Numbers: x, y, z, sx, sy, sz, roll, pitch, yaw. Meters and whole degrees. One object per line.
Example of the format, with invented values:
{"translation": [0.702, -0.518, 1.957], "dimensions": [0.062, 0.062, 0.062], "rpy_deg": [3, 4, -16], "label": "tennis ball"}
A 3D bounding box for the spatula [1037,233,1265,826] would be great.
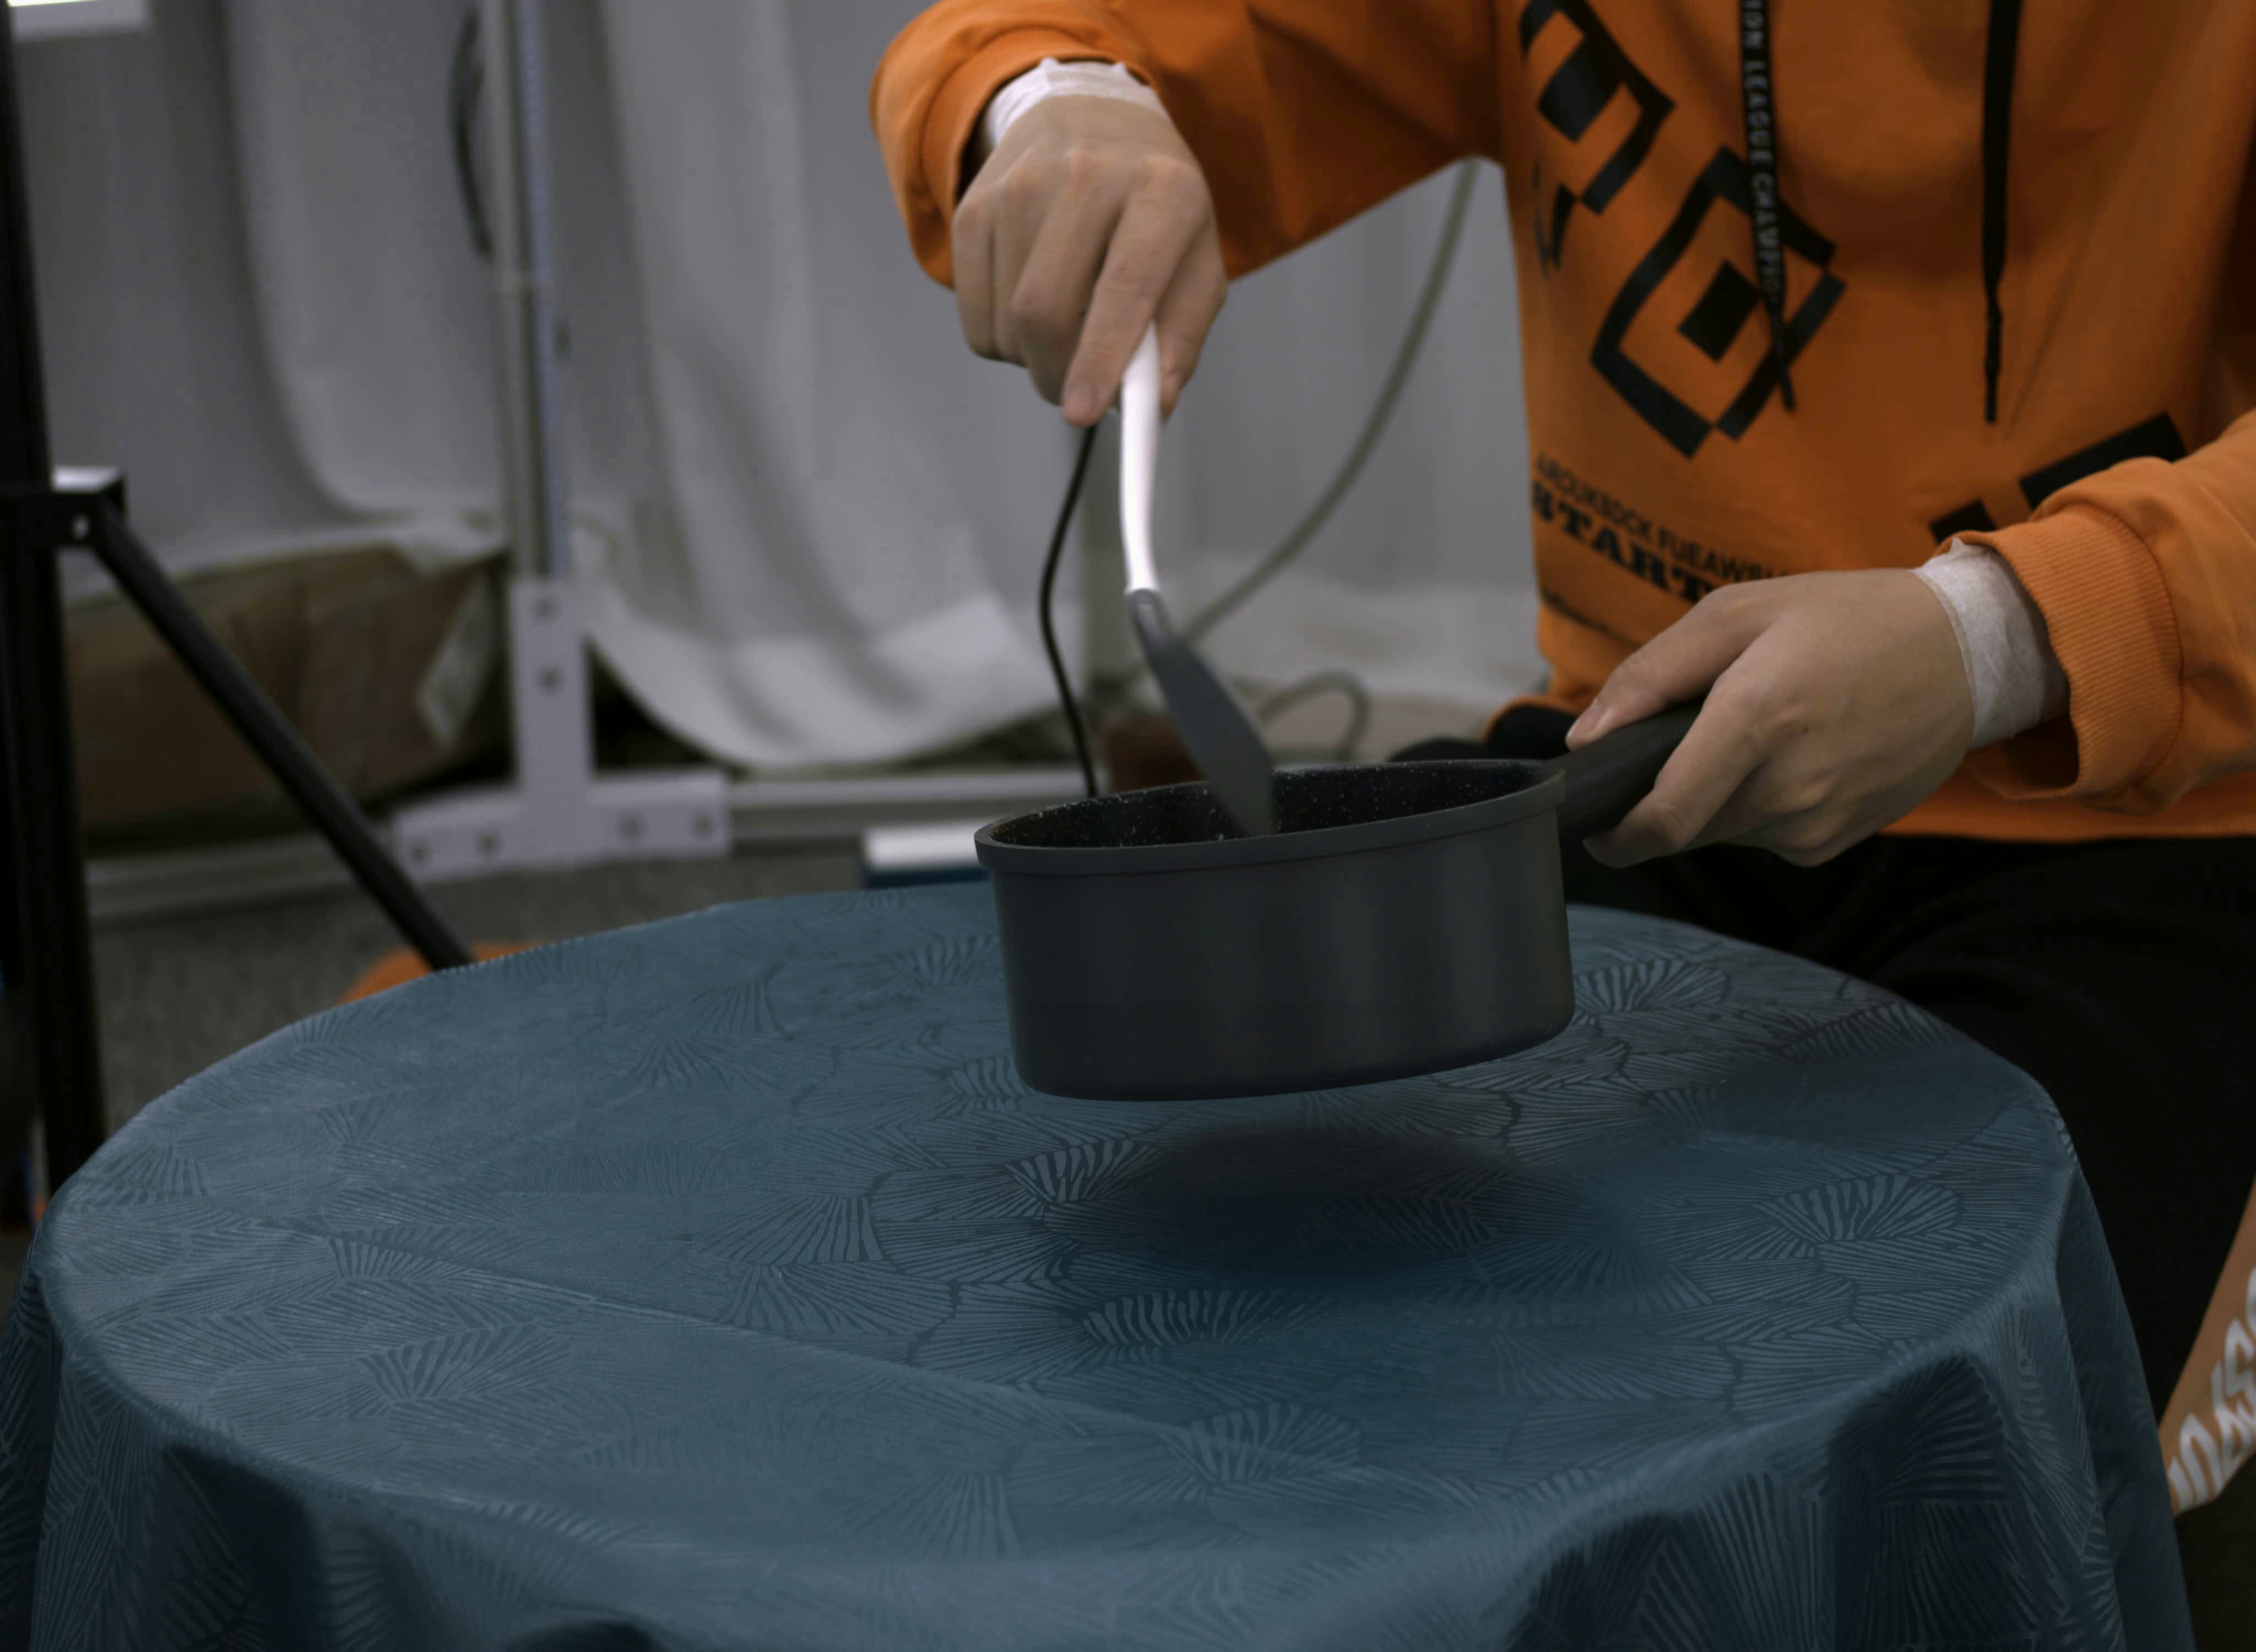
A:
{"translation": [0.008, -0.090, 1.632], "dimensions": [0.032, 0.058, 0.292], "rpy_deg": [-6, 39, -7], "label": "spatula"}

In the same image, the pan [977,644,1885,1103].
{"translation": [0.105, 0.014, 1.574], "dimensions": [0.321, 0.086, 0.176], "rpy_deg": [-13, 10, -37], "label": "pan"}
